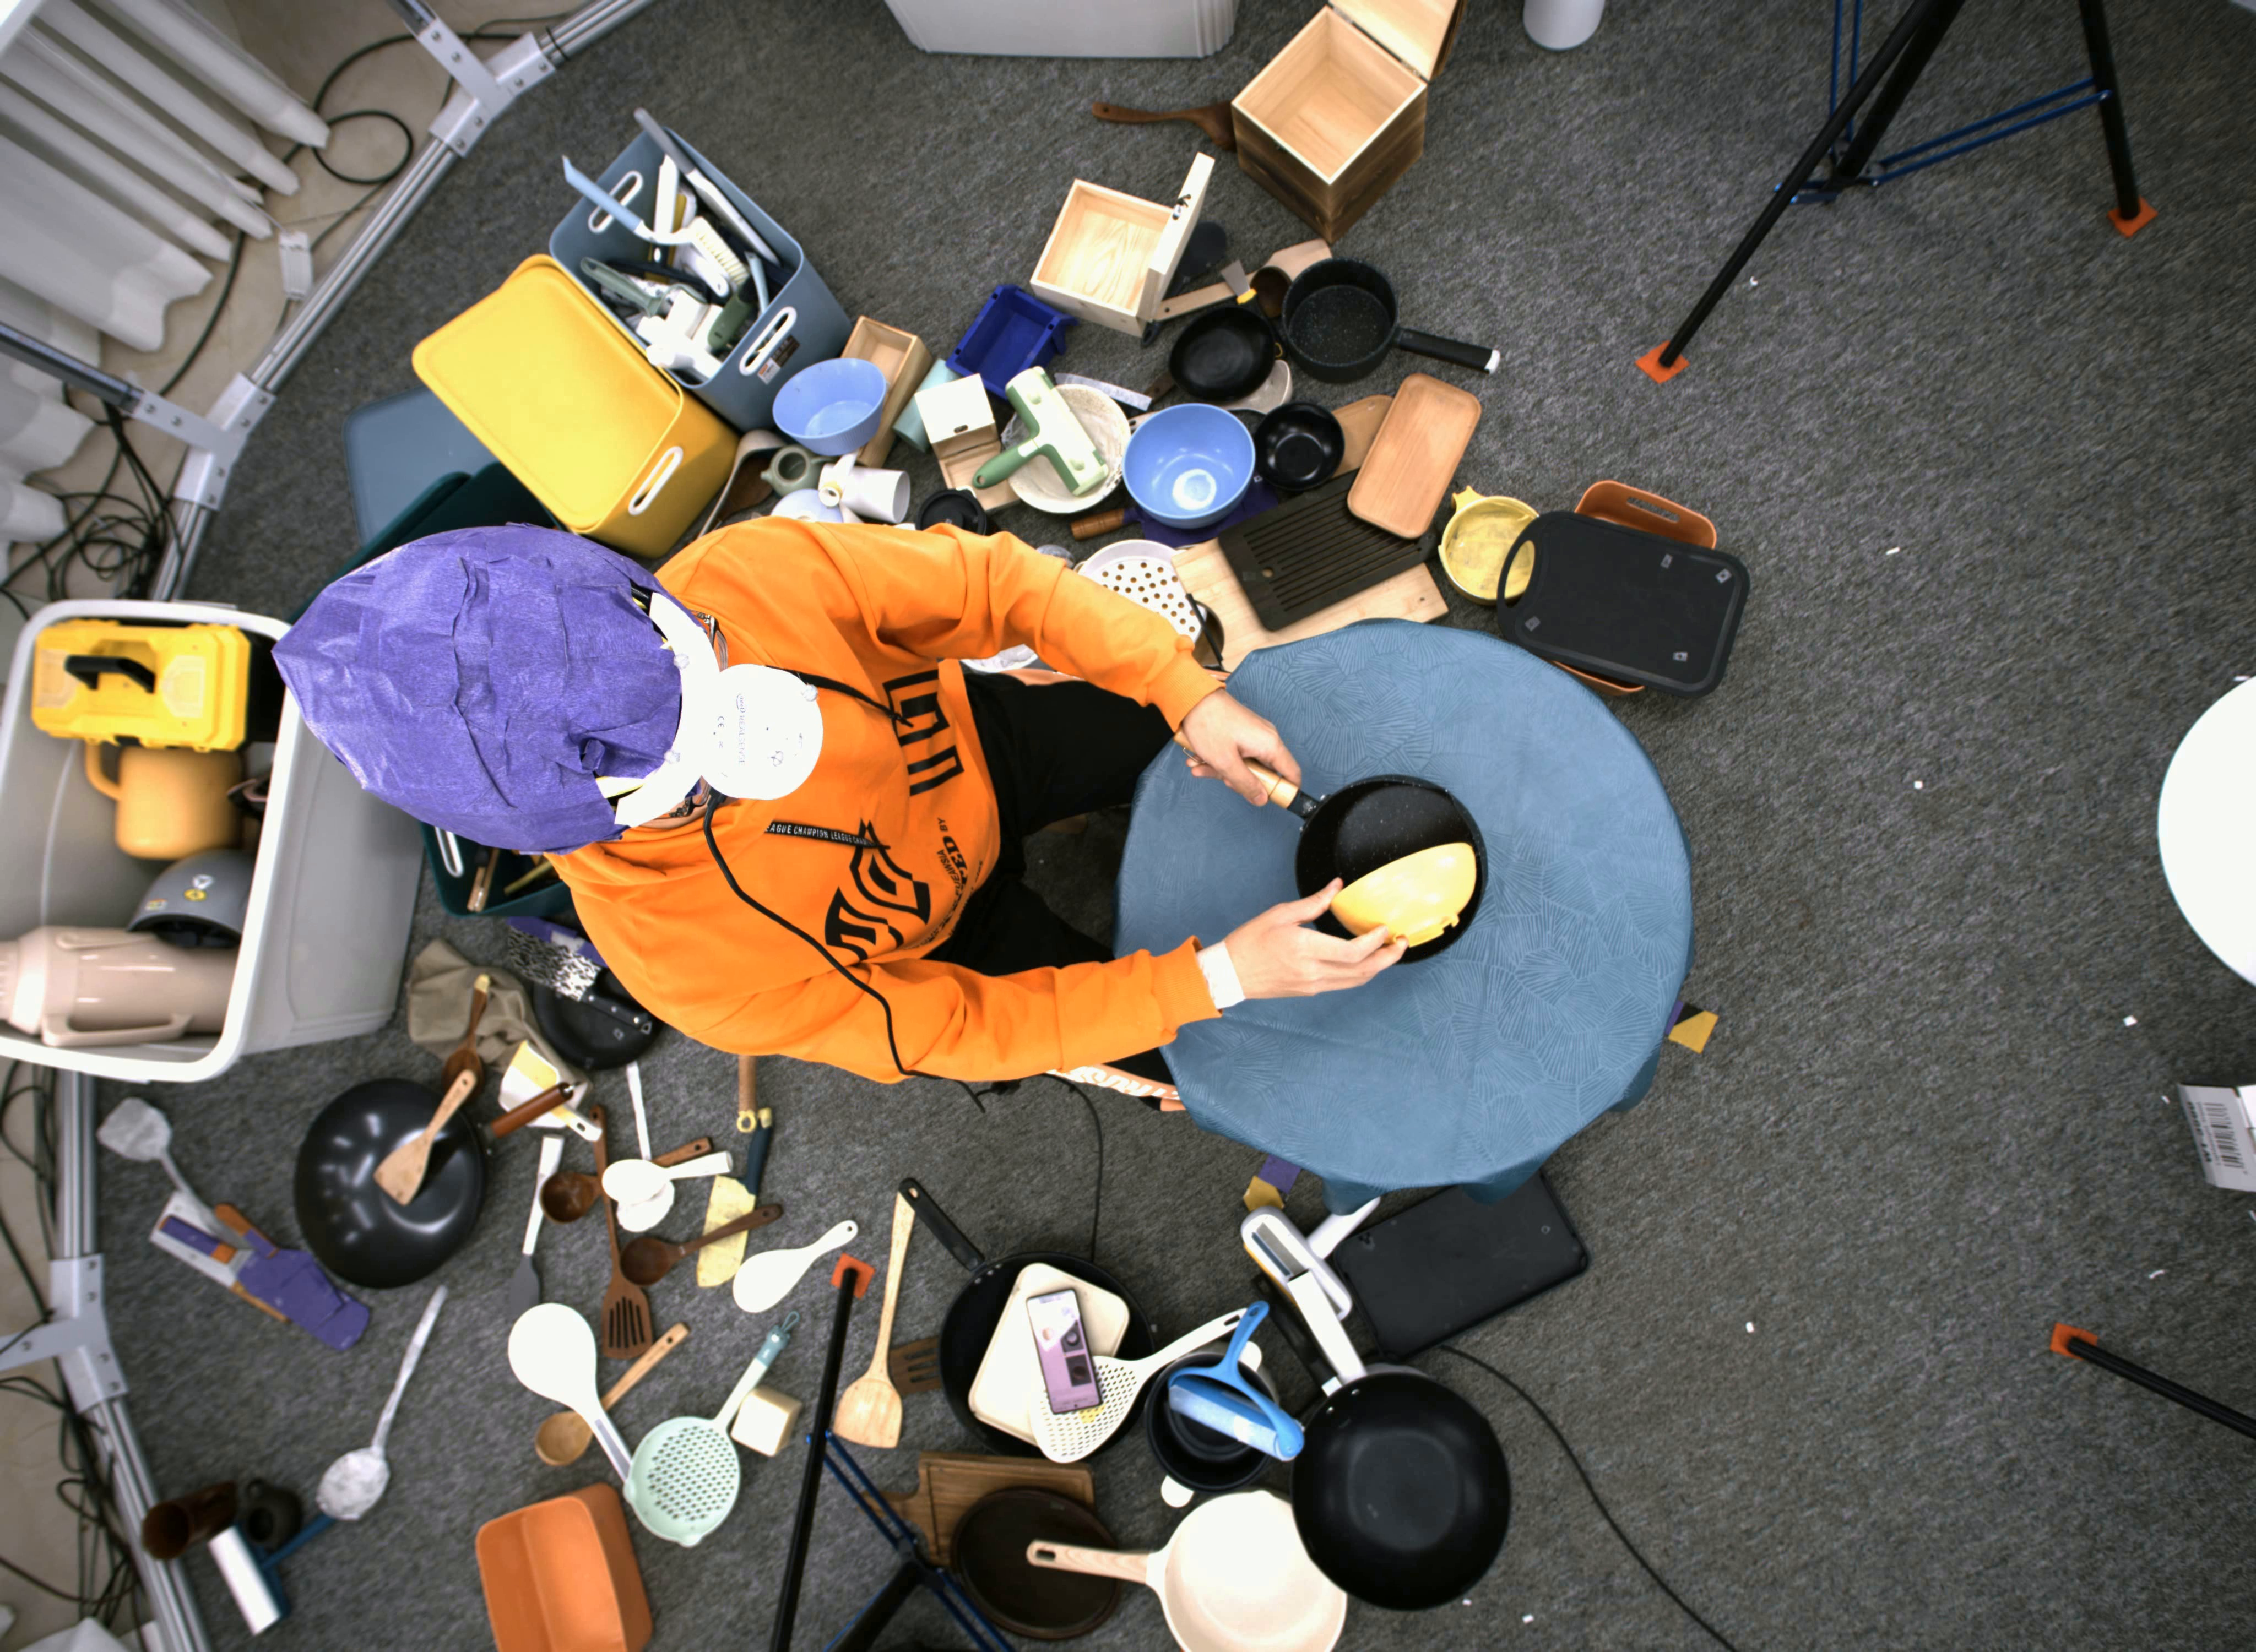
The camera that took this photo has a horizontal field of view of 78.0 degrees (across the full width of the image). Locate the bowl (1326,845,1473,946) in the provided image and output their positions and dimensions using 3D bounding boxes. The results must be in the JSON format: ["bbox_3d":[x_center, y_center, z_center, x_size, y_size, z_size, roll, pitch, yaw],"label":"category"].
[{"bbox_3d":[0.262,0.071,1.285,0.146,0.146,0.059,-22,75,7],"label":"bowl"}]

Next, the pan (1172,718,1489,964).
[{"bbox_3d":[0.197,-0.008,1.365,0.342,0.106,0.212,35,116,10],"label":"pan"}]
